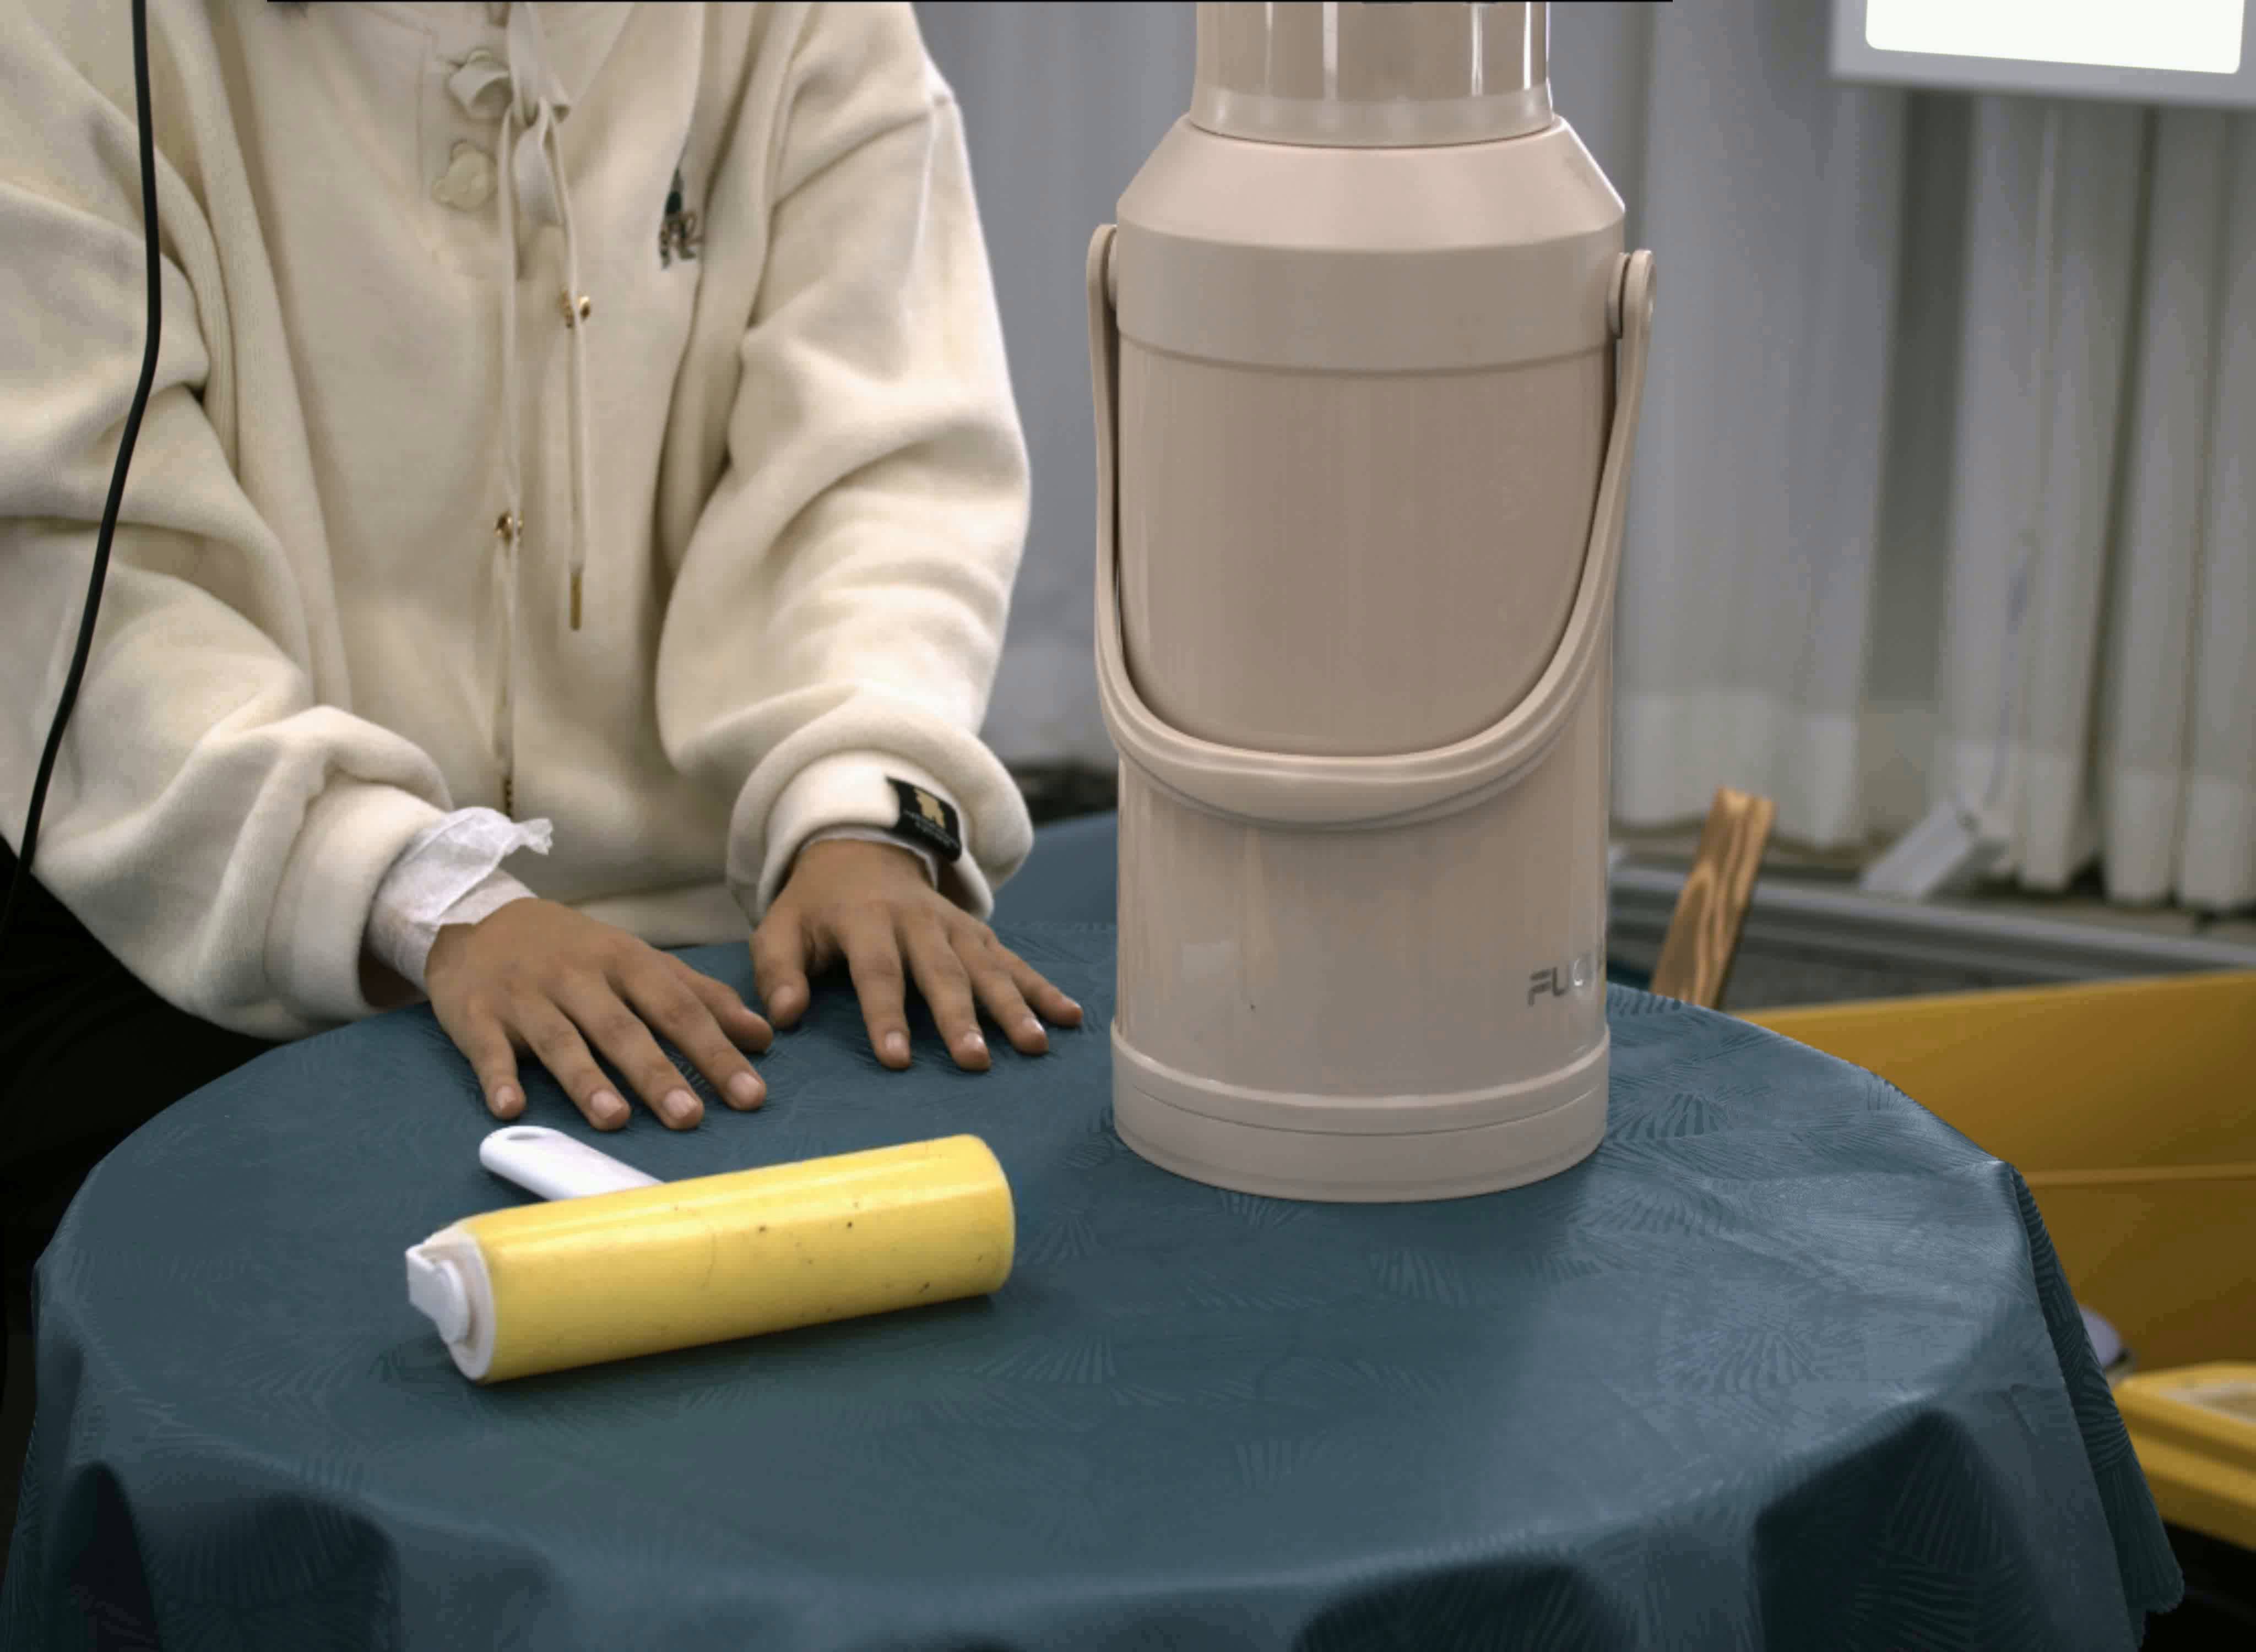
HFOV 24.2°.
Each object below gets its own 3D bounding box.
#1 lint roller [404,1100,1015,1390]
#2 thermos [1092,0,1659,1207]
[{"bbox_3d":[-0.148,0.102,1.551,0.175,0.052,0.189,-8,24,-28],"label":"lint roller"},{"bbox_3d":[0.079,-0.099,1.641,0.174,0.409,0.207,4,16,15],"label":"thermos"}]
